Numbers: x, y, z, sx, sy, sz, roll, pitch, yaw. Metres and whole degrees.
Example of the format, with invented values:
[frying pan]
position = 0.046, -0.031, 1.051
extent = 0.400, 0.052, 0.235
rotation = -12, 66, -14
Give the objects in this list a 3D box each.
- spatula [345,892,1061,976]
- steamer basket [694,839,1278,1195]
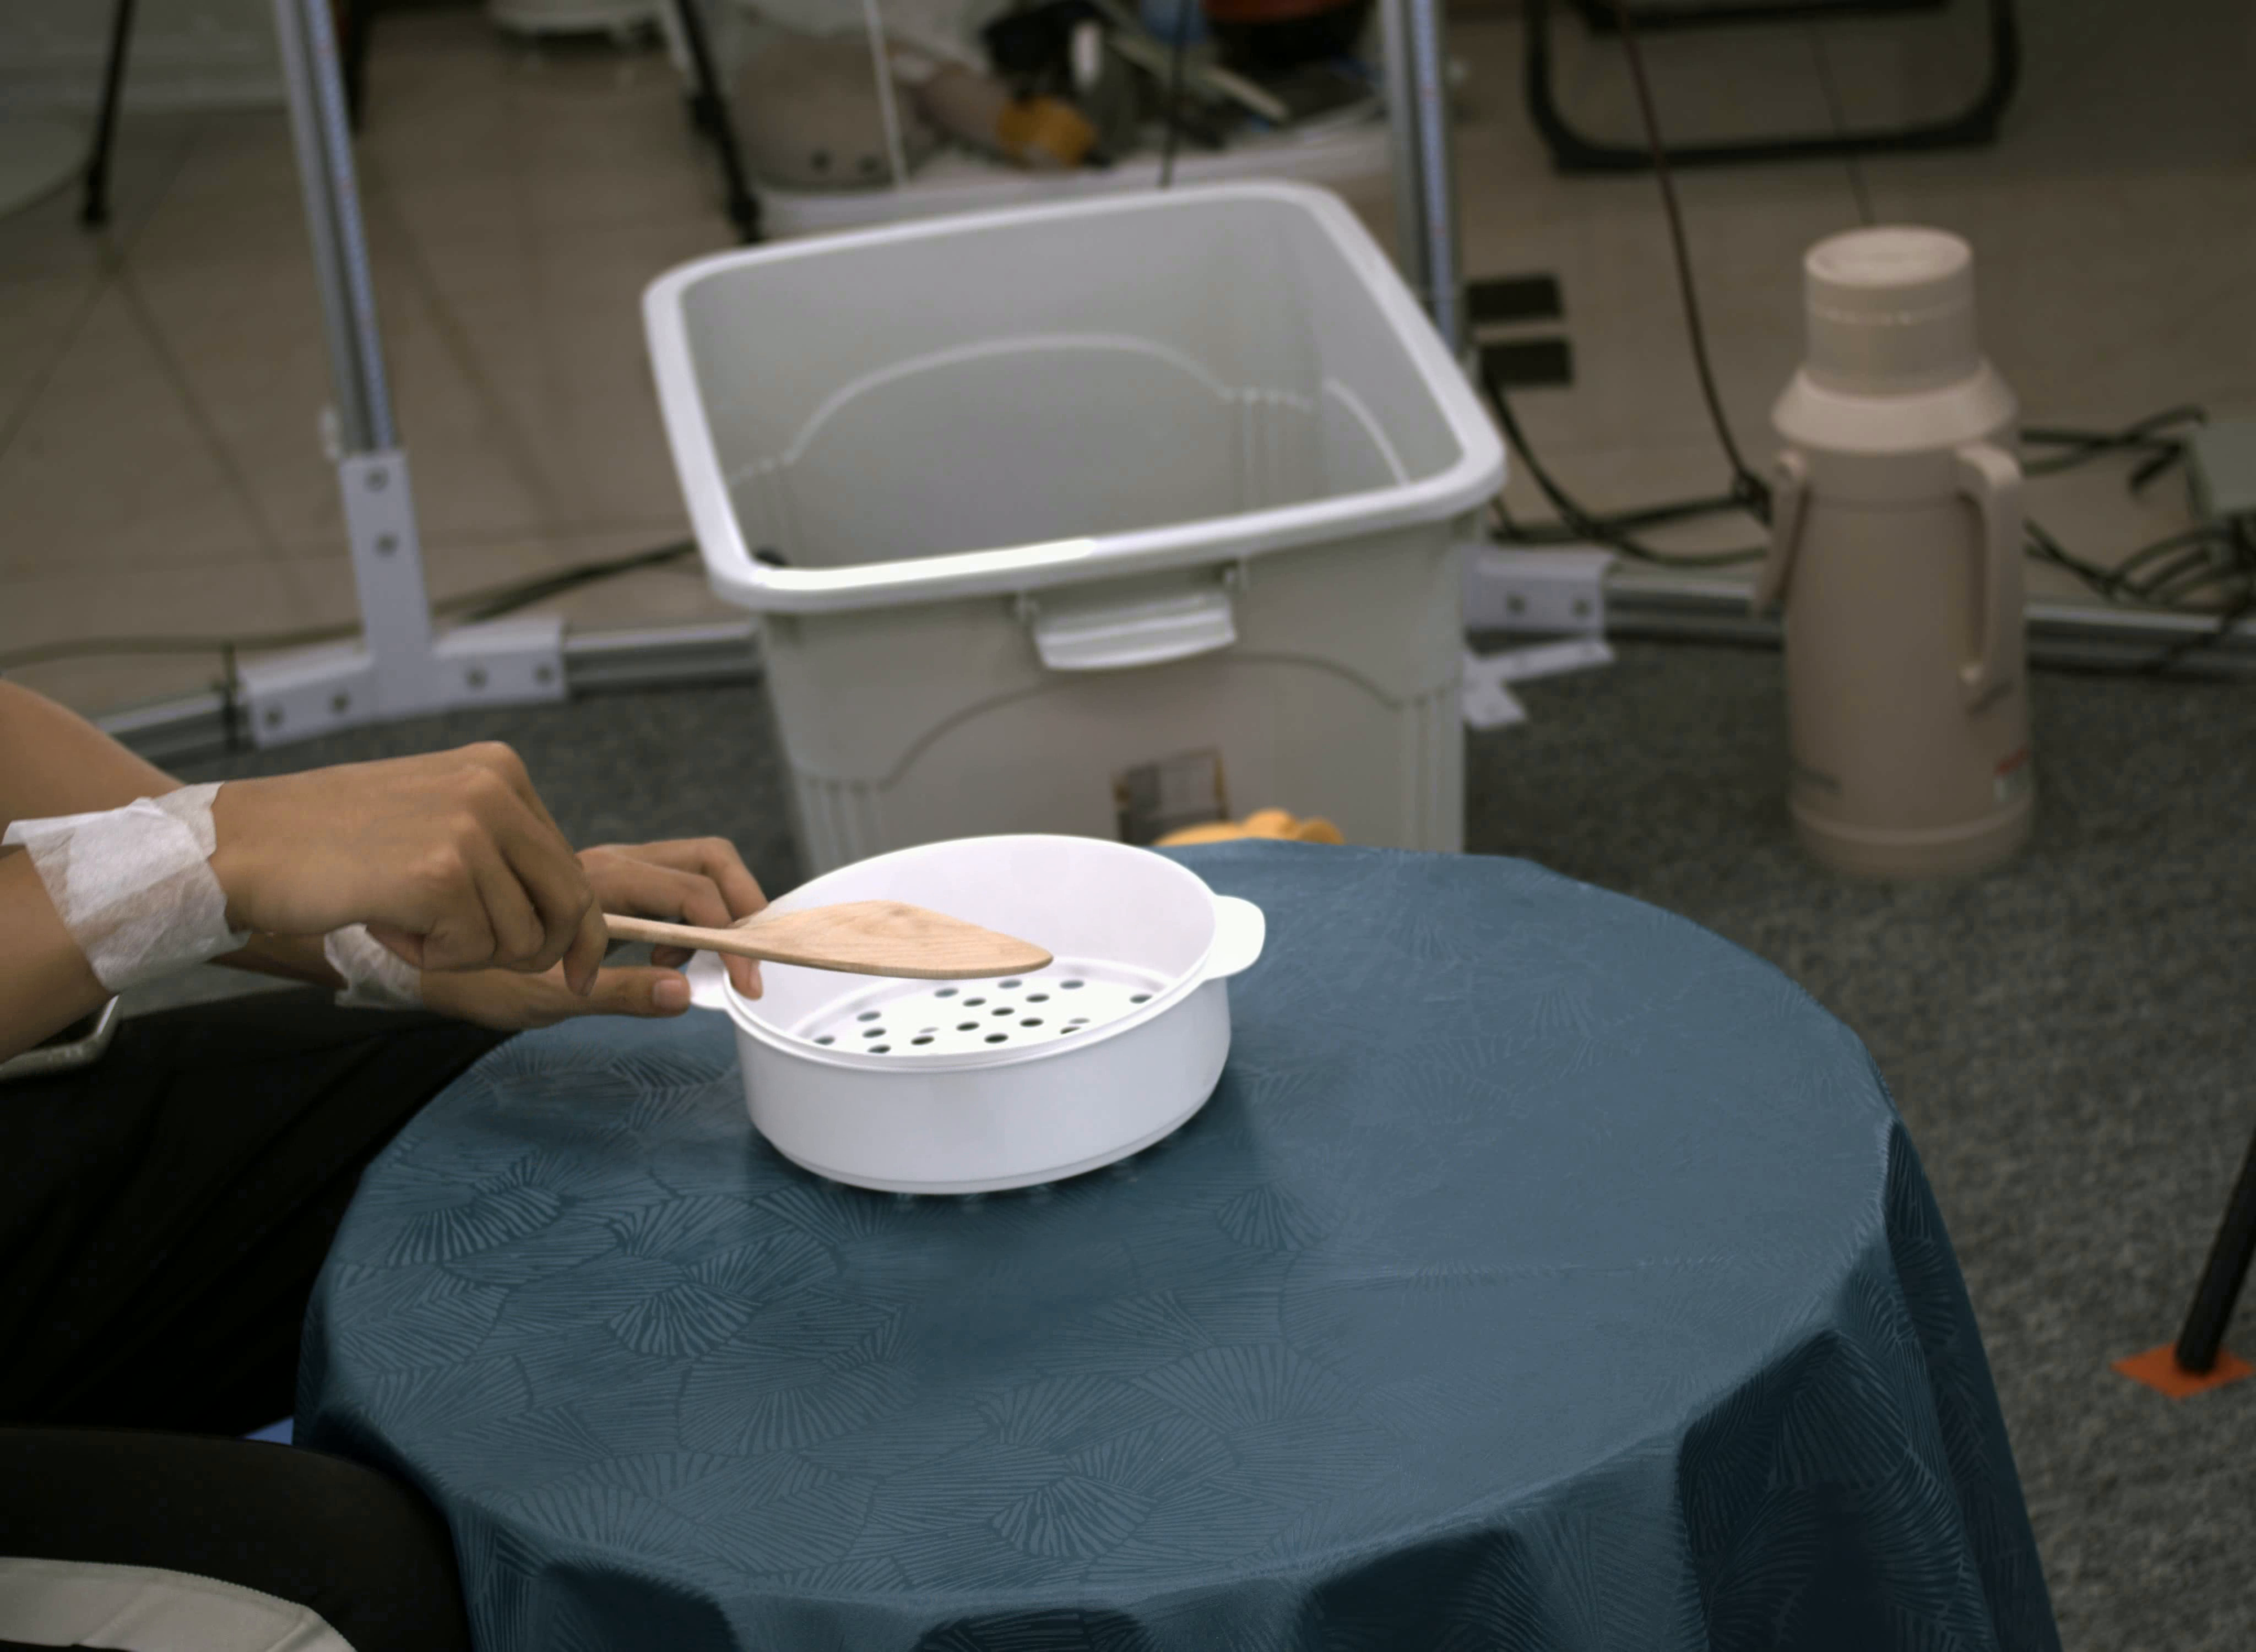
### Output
[spatula]
position = -0.152, 0.035, 1.991
extent = 0.079, 0.016, 0.328
rotation = 23, 12, 37
[steamer basket]
position = -0.052, 0.075, 2.223
extent = 0.230, 0.070, 0.199
rotation = -4, 24, 7
